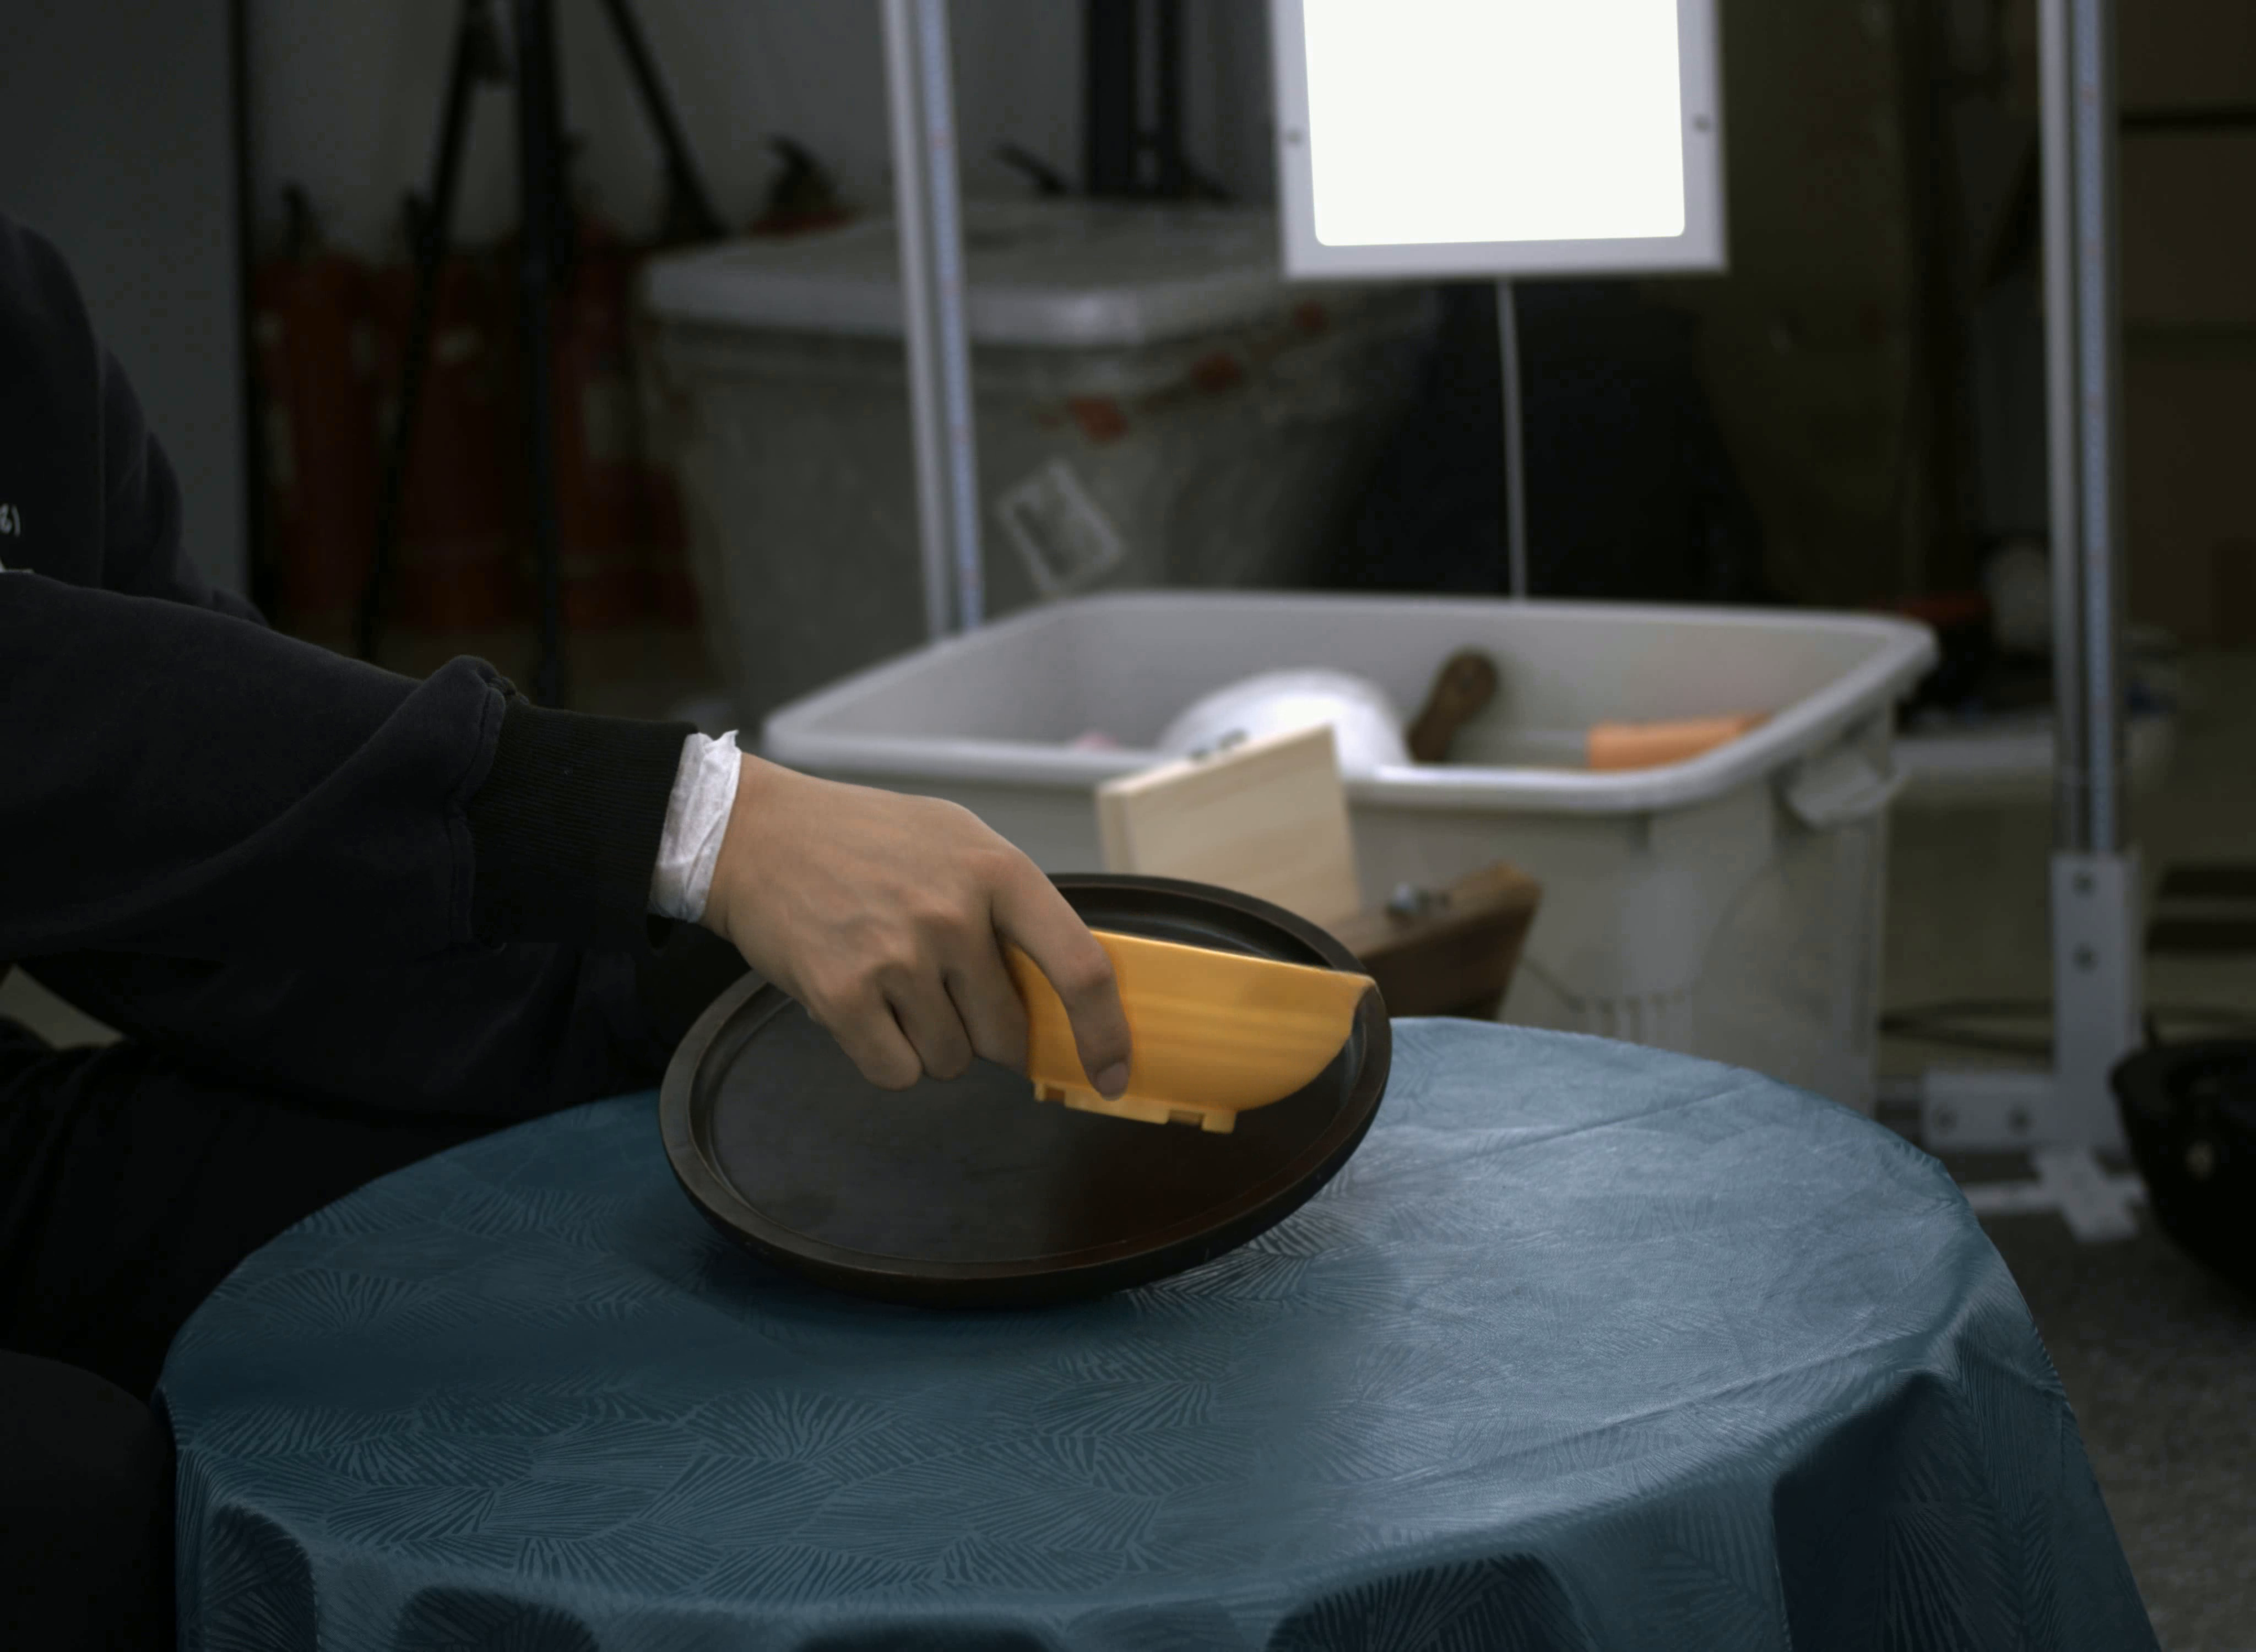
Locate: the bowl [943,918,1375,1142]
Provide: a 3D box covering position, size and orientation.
[{"bbox_3d":[0.007,0.070,1.808,0.145,0.060,0.145,7,-5,-1],"label":"bowl"}]

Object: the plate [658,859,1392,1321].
[{"bbox_3d":[-0.034,0.090,1.882,0.255,0.029,0.254,-8,32,3],"label":"plate"}]
